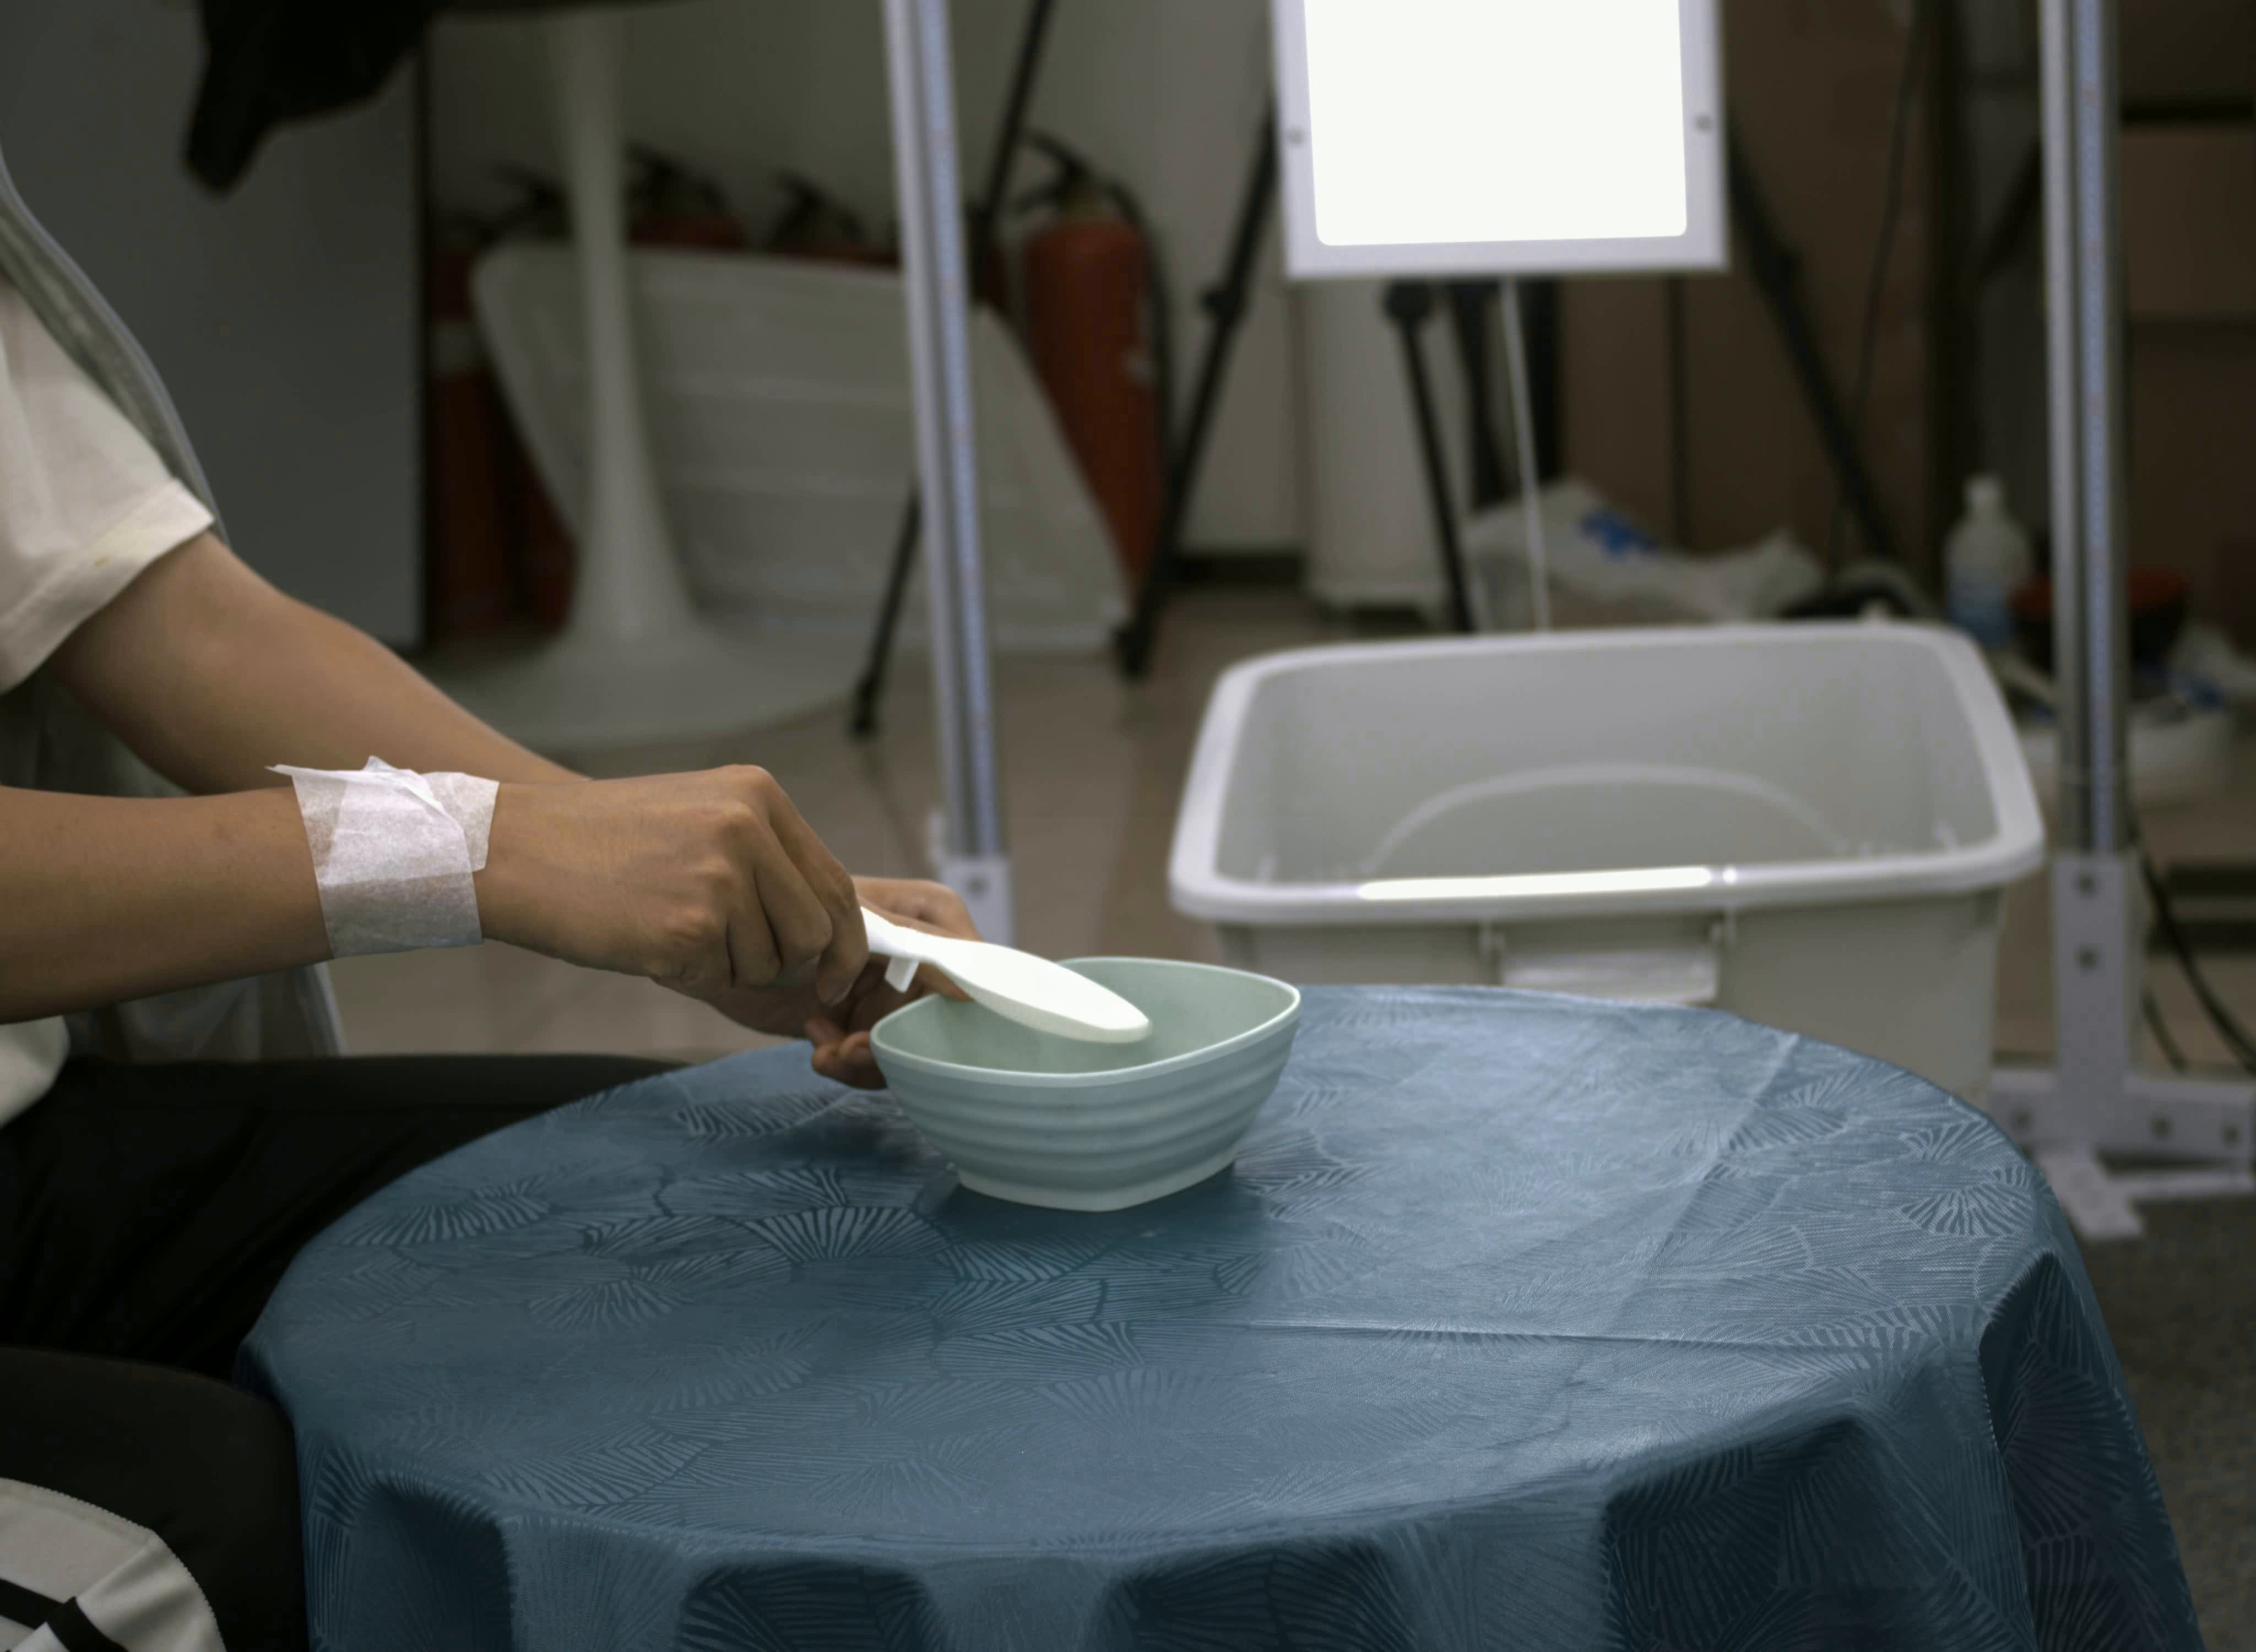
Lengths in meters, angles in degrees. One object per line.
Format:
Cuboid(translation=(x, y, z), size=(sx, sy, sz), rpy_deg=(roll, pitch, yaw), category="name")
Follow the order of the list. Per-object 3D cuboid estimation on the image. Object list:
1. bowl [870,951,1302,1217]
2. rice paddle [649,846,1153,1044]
Cuboid(translation=(-0.013, 0.093, 1.920), size=(0.151, 0.059, 0.151), rpy_deg=(-4, 16, 0), category="bowl")
Cuboid(translation=(-0.072, 0.044, 1.896), size=(0.201, 0.029, 0.070), rpy_deg=(17, 14, -35), category="rice paddle")
